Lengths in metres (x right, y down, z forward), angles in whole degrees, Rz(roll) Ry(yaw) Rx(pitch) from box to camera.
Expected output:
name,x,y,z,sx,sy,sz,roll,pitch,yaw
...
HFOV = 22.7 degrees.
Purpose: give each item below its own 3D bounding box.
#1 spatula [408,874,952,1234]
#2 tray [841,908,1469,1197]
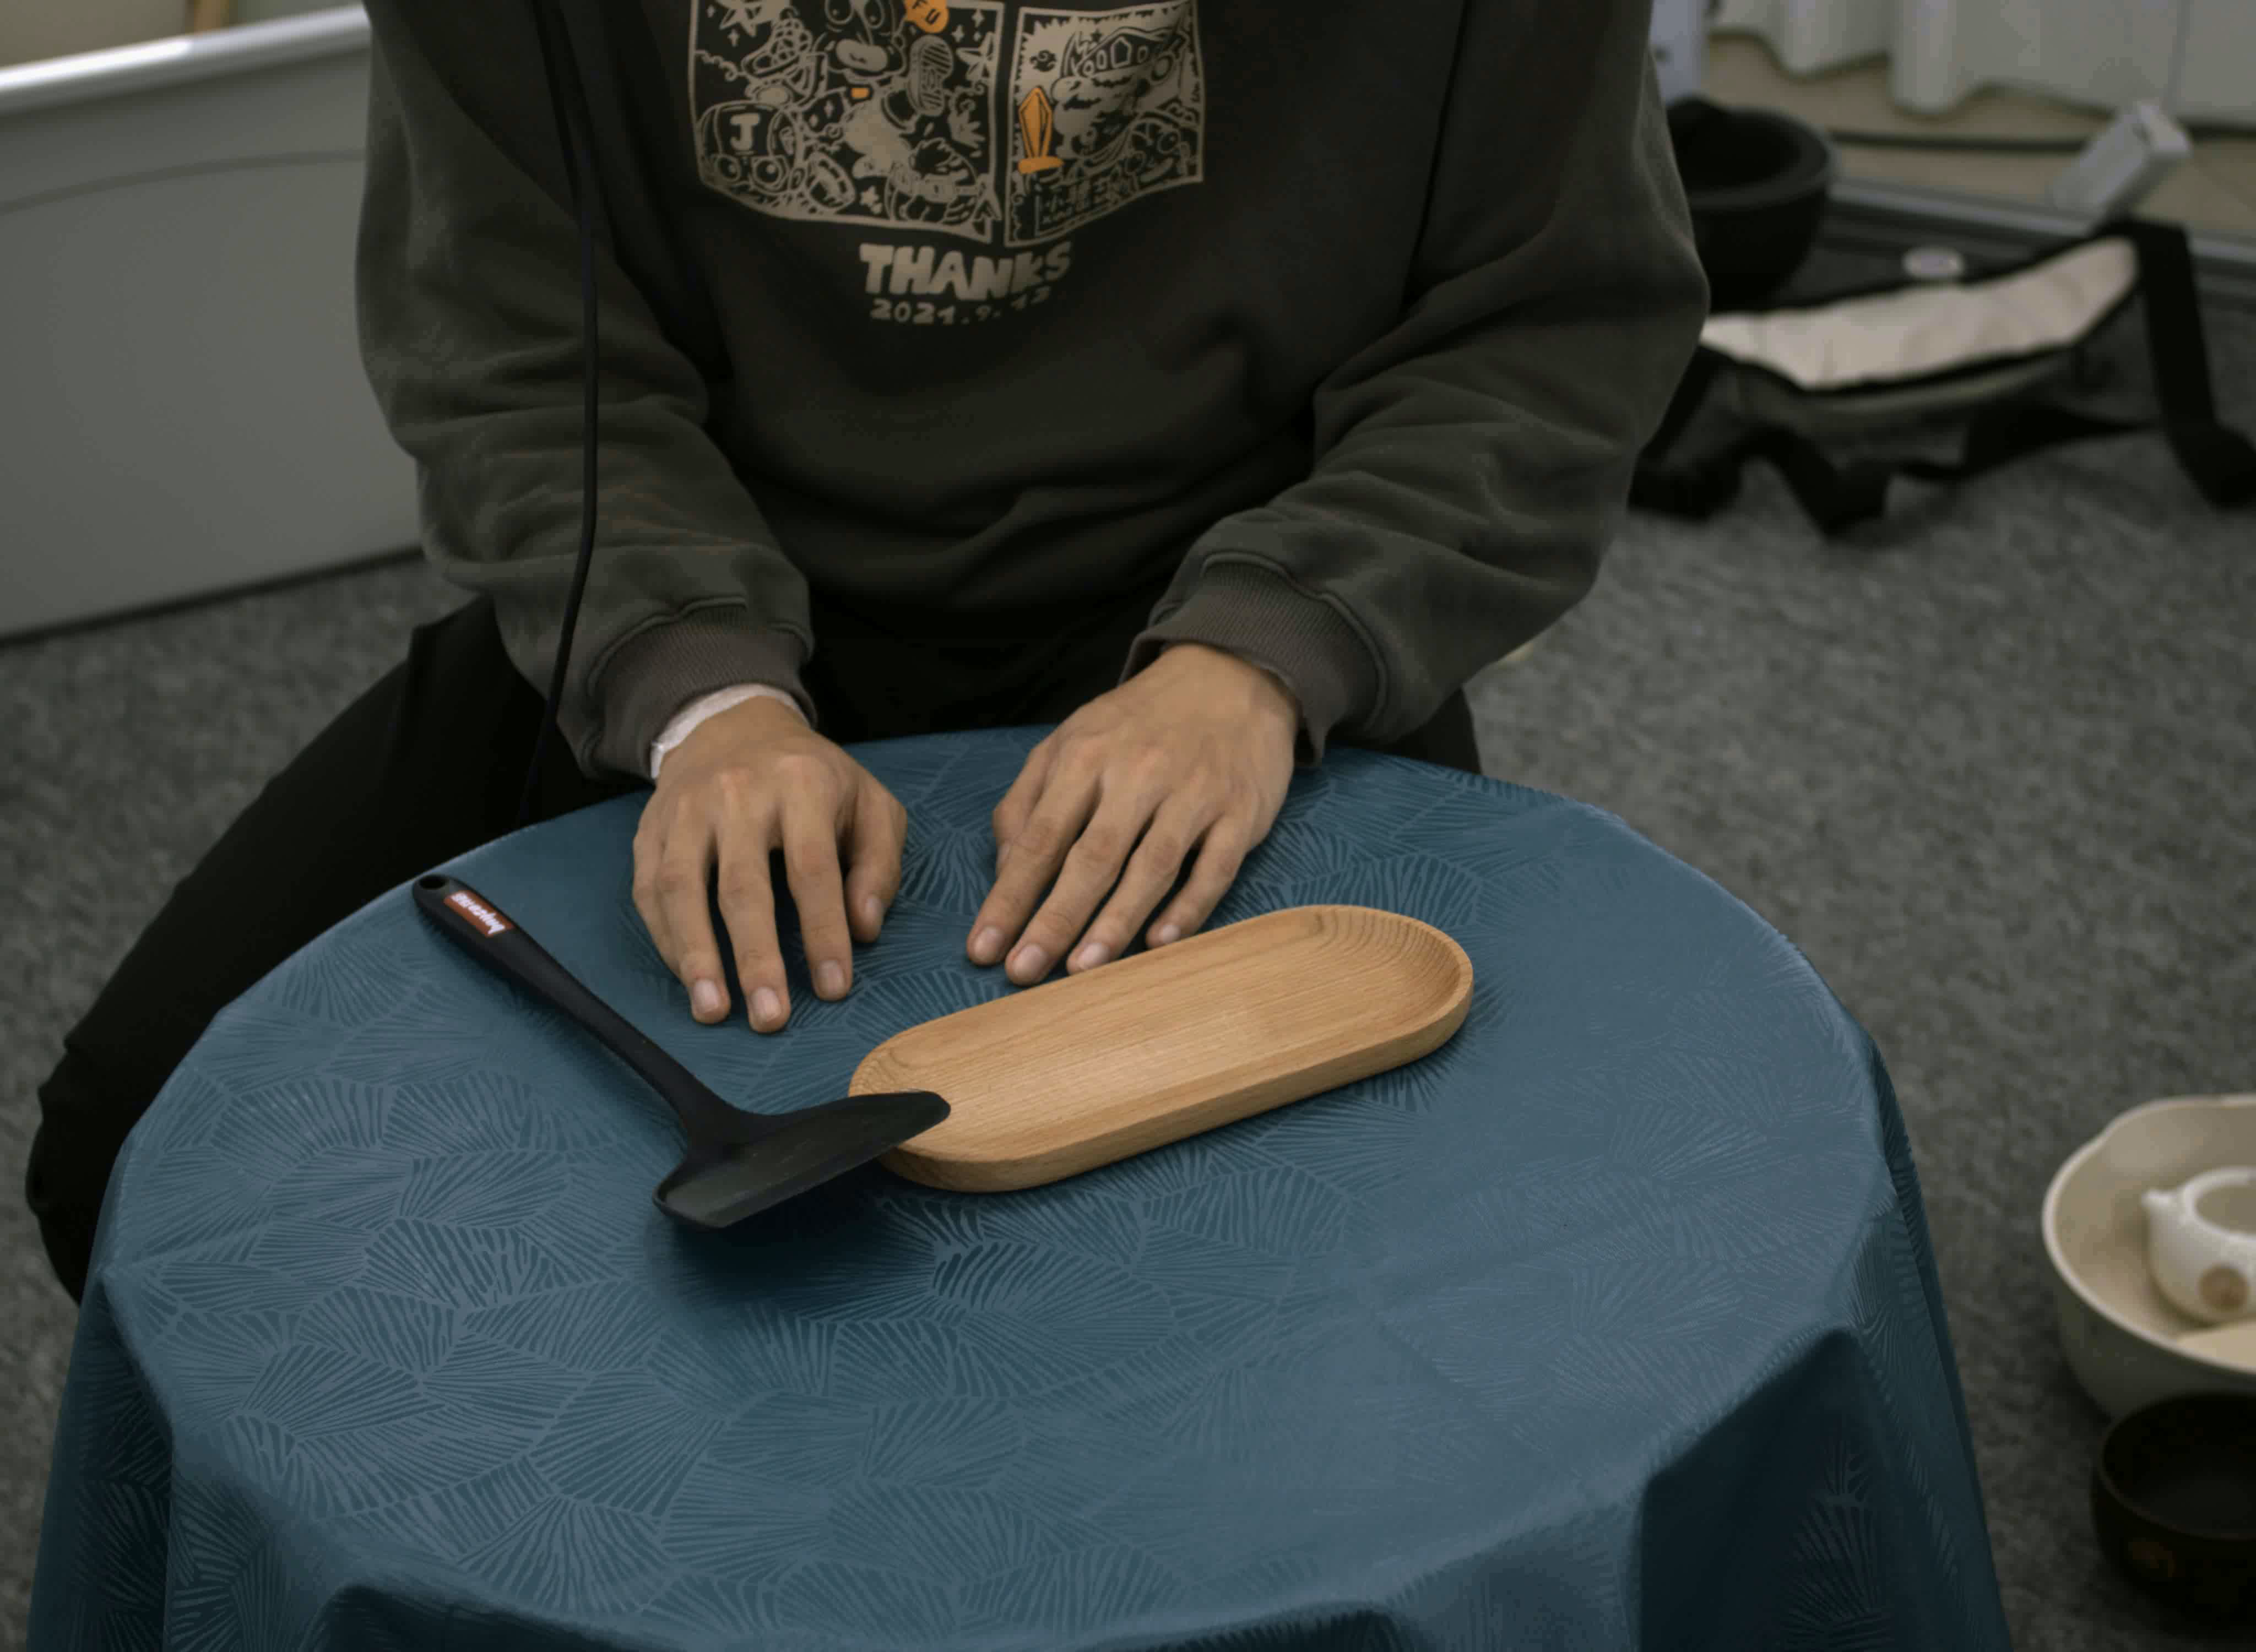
name,x,y,z,sx,sy,sz,roll,pitch,yaw
spatula,-0.176,0.069,1.939,0.100,0.040,0.327,-23,33,-25
tray,0.011,0.077,1.927,0.232,0.020,0.102,-18,31,-24
